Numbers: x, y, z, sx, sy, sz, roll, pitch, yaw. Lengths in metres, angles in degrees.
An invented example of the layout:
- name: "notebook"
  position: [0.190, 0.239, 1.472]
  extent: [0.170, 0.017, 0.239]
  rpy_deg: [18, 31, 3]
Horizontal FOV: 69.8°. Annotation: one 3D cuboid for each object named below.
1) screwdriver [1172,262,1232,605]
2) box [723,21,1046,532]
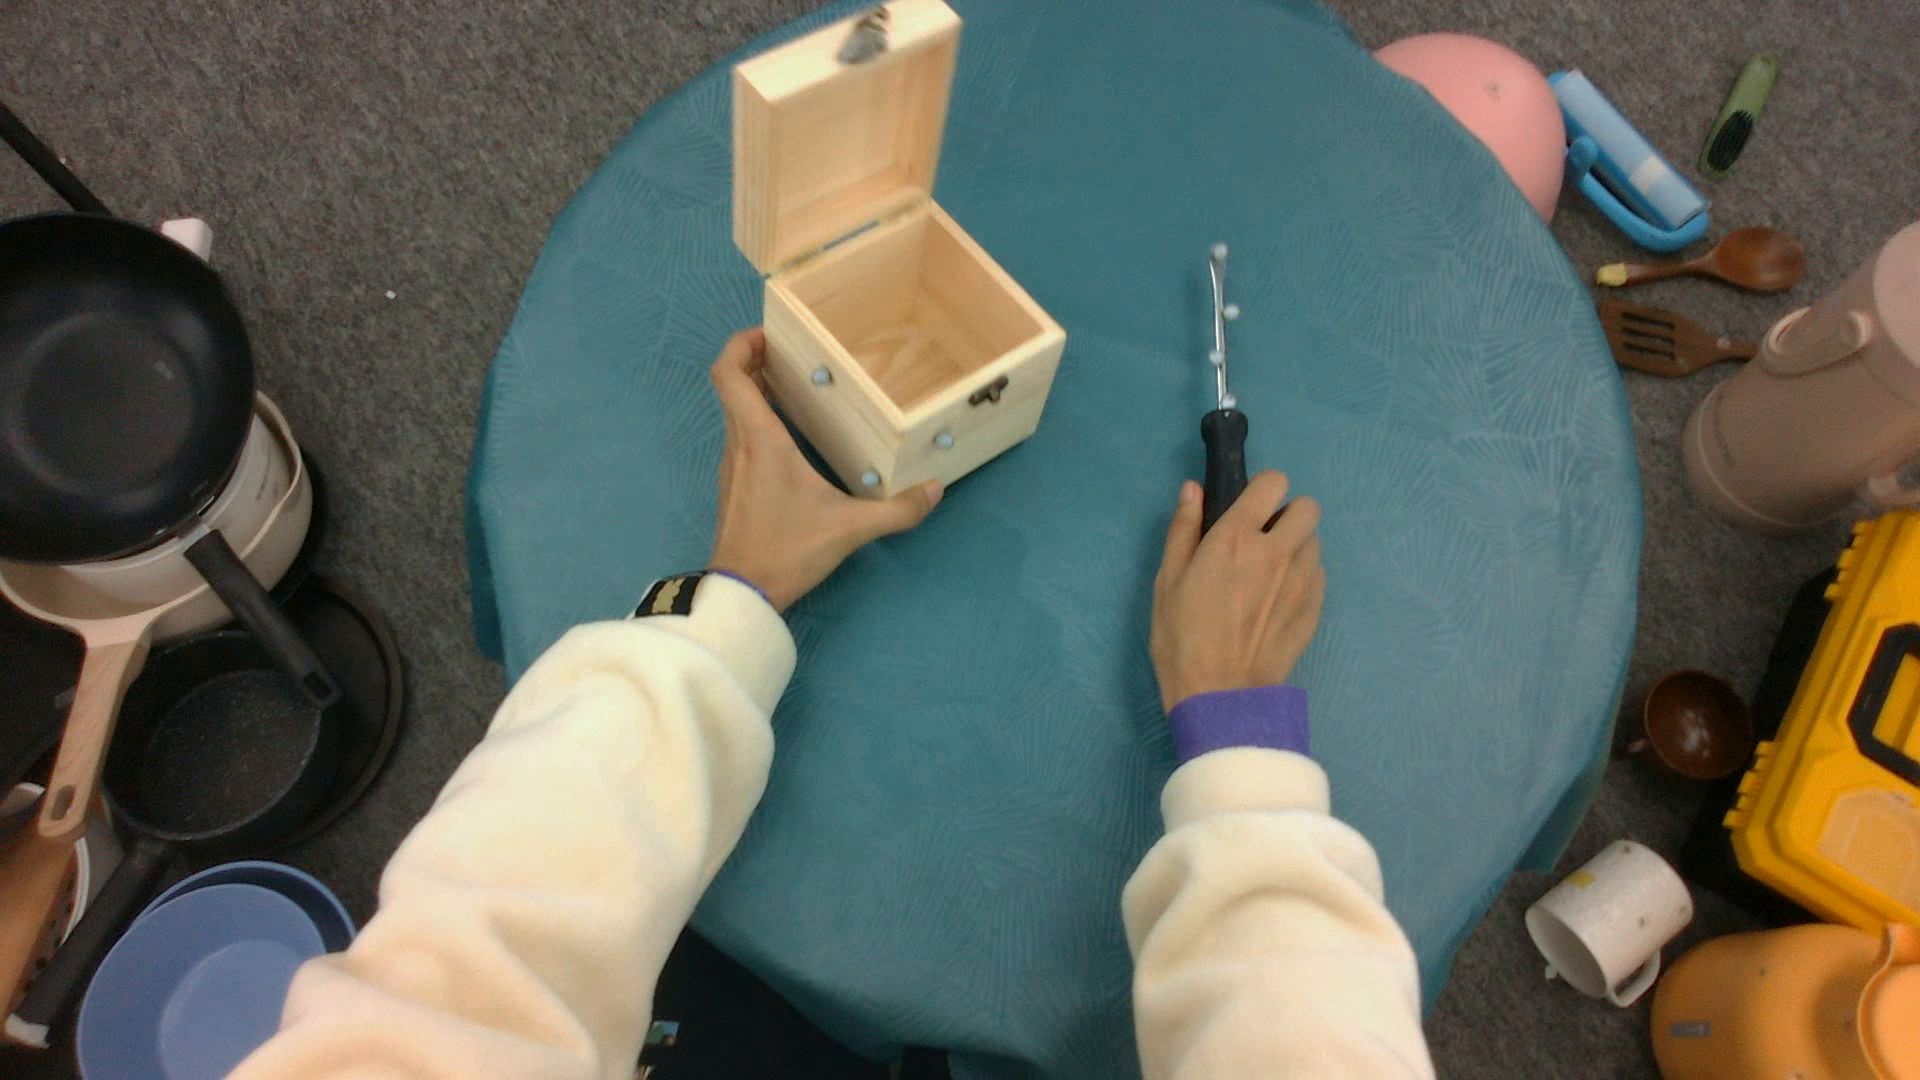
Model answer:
- name: "screwdriver"
  position: [0.127, -0.059, 0.711]
  extent: [0.031, 0.031, 0.198]
  rpy_deg: [7, 66, 0]
- name: "box"
  position: [-0.031, -0.115, 0.631]
  extent: [0.103, 0.183, 0.134]
  rpy_deg: [-30, 69, -26]
